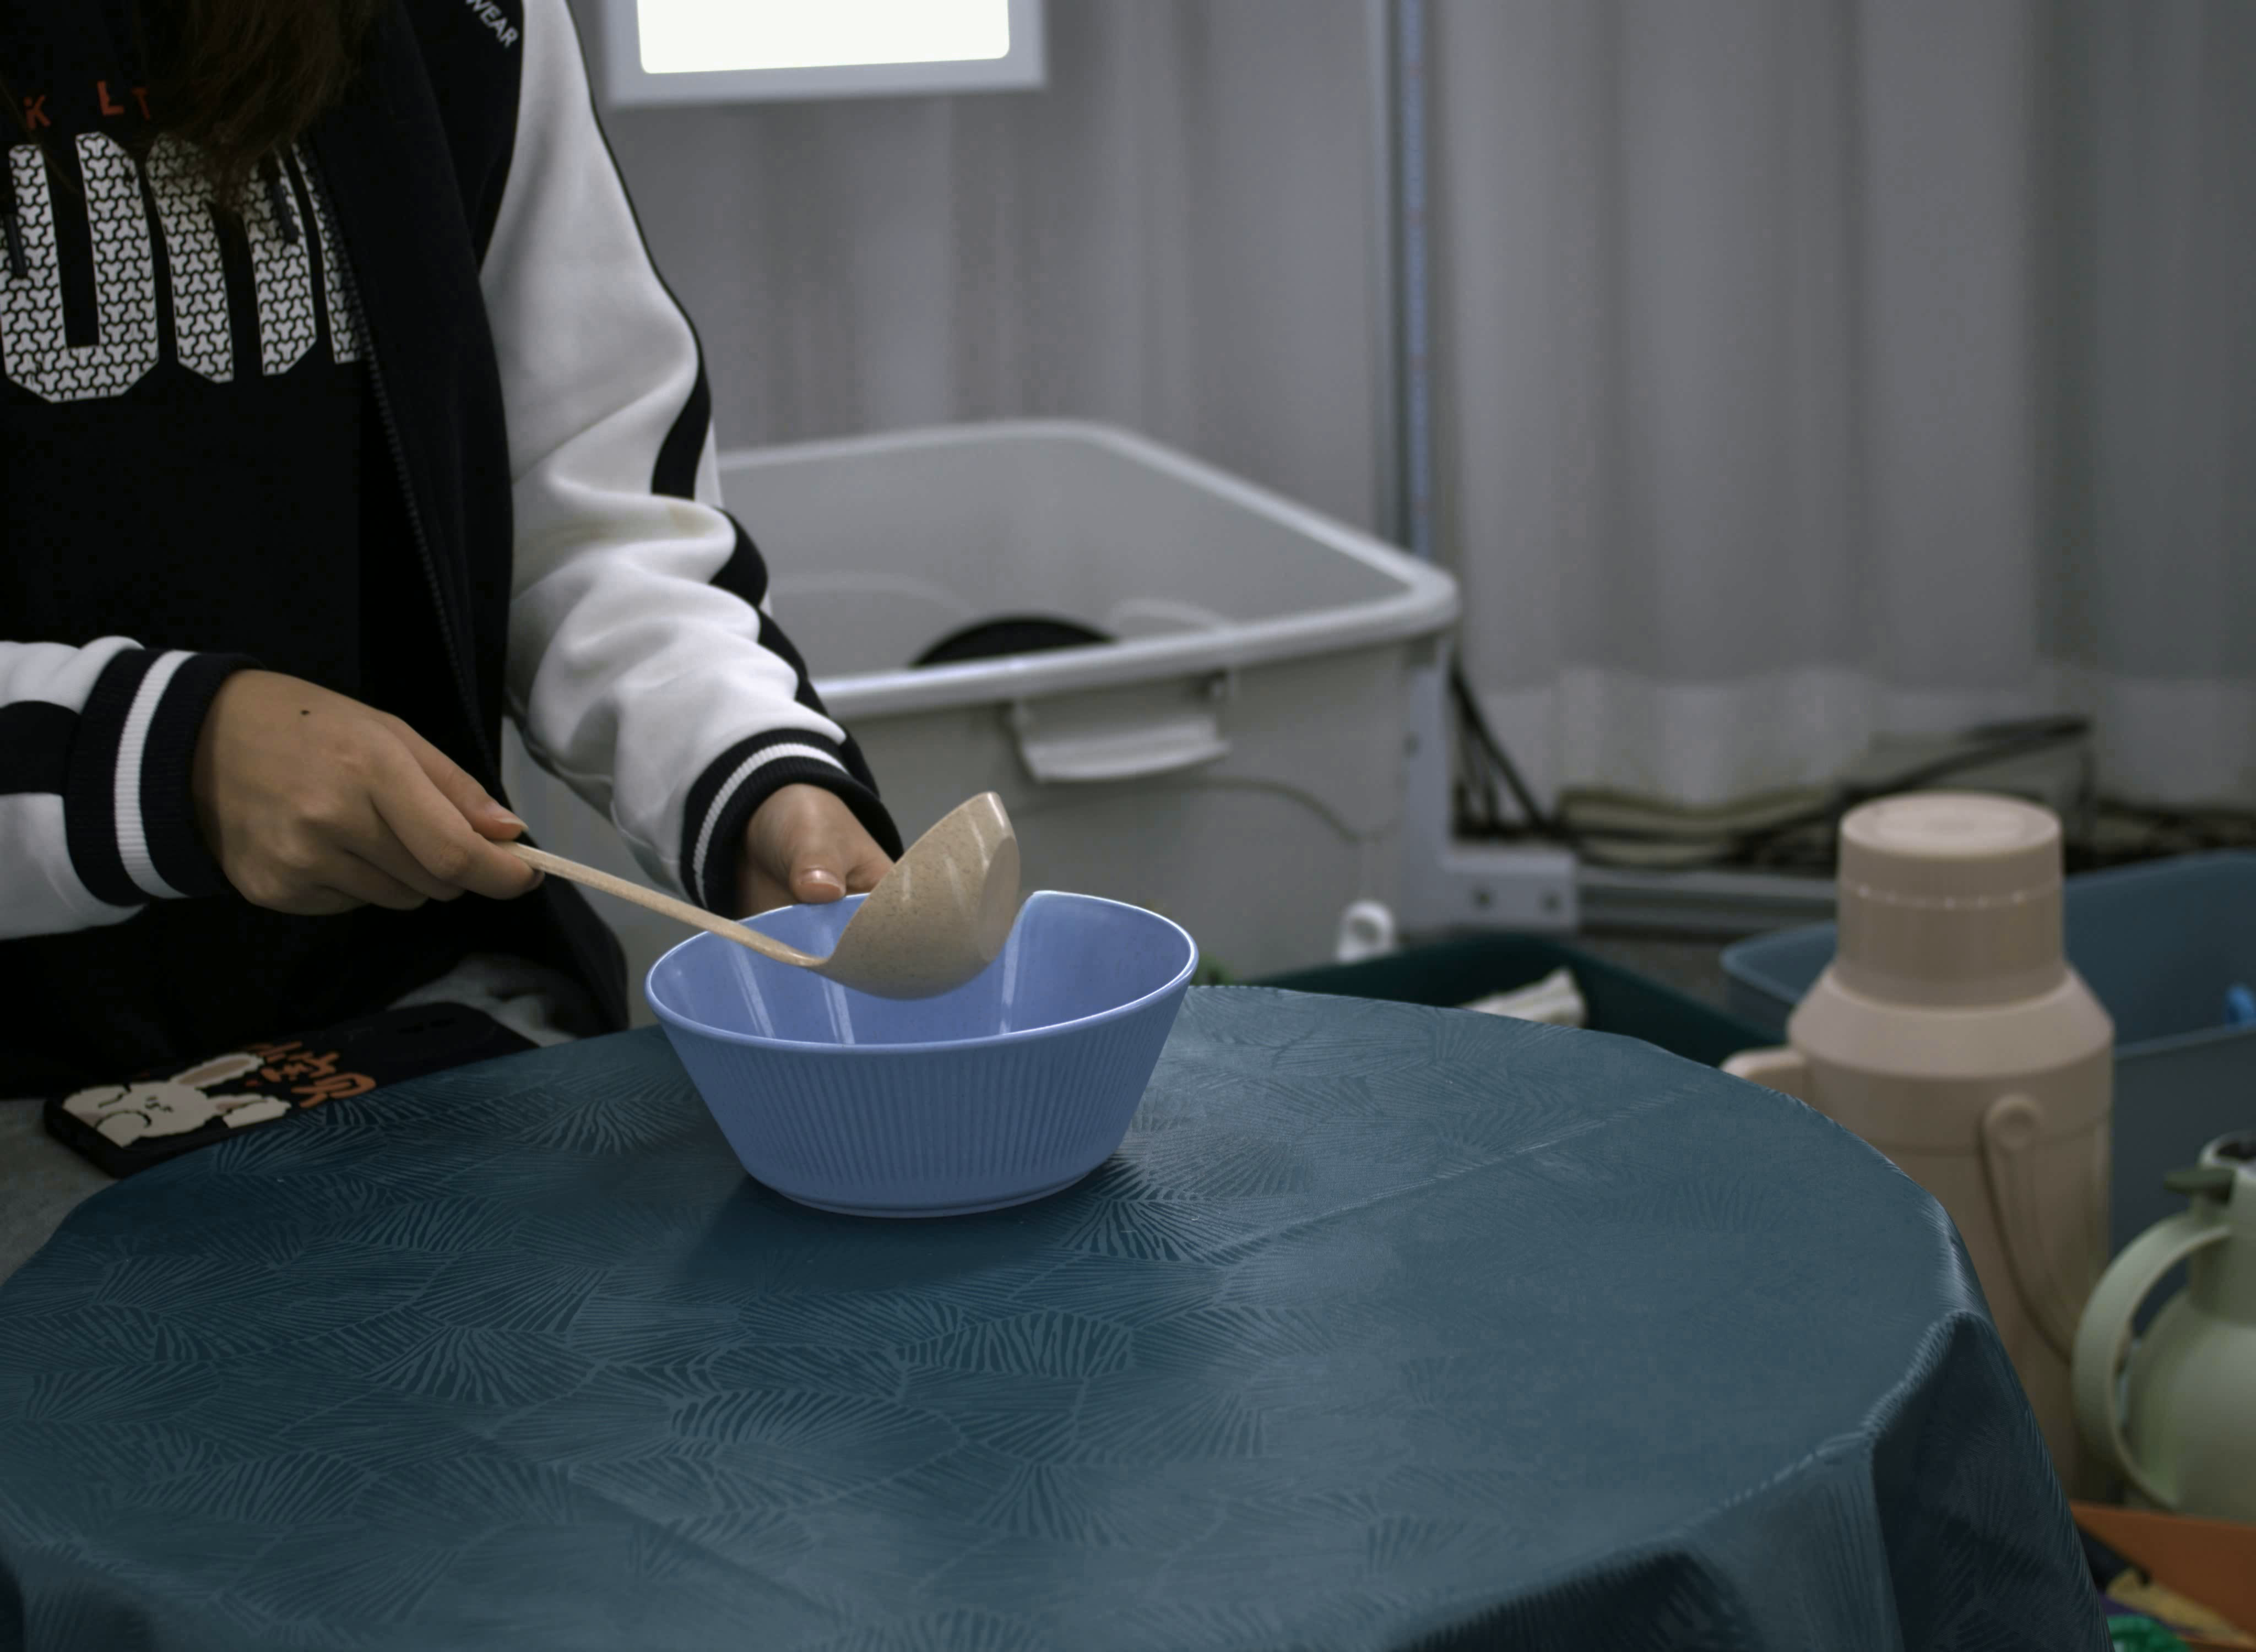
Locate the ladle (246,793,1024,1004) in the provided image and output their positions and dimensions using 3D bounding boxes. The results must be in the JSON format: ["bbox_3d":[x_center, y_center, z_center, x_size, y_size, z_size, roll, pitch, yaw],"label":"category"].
[{"bbox_3d":[-0.156,-0.005,1.736,0.255,0.073,0.072,16,0,14],"label":"ladle"}]

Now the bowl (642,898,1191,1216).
[{"bbox_3d":[-0.066,0.075,1.741,0.175,0.070,0.177,-2,14,0],"label":"bowl"}]
